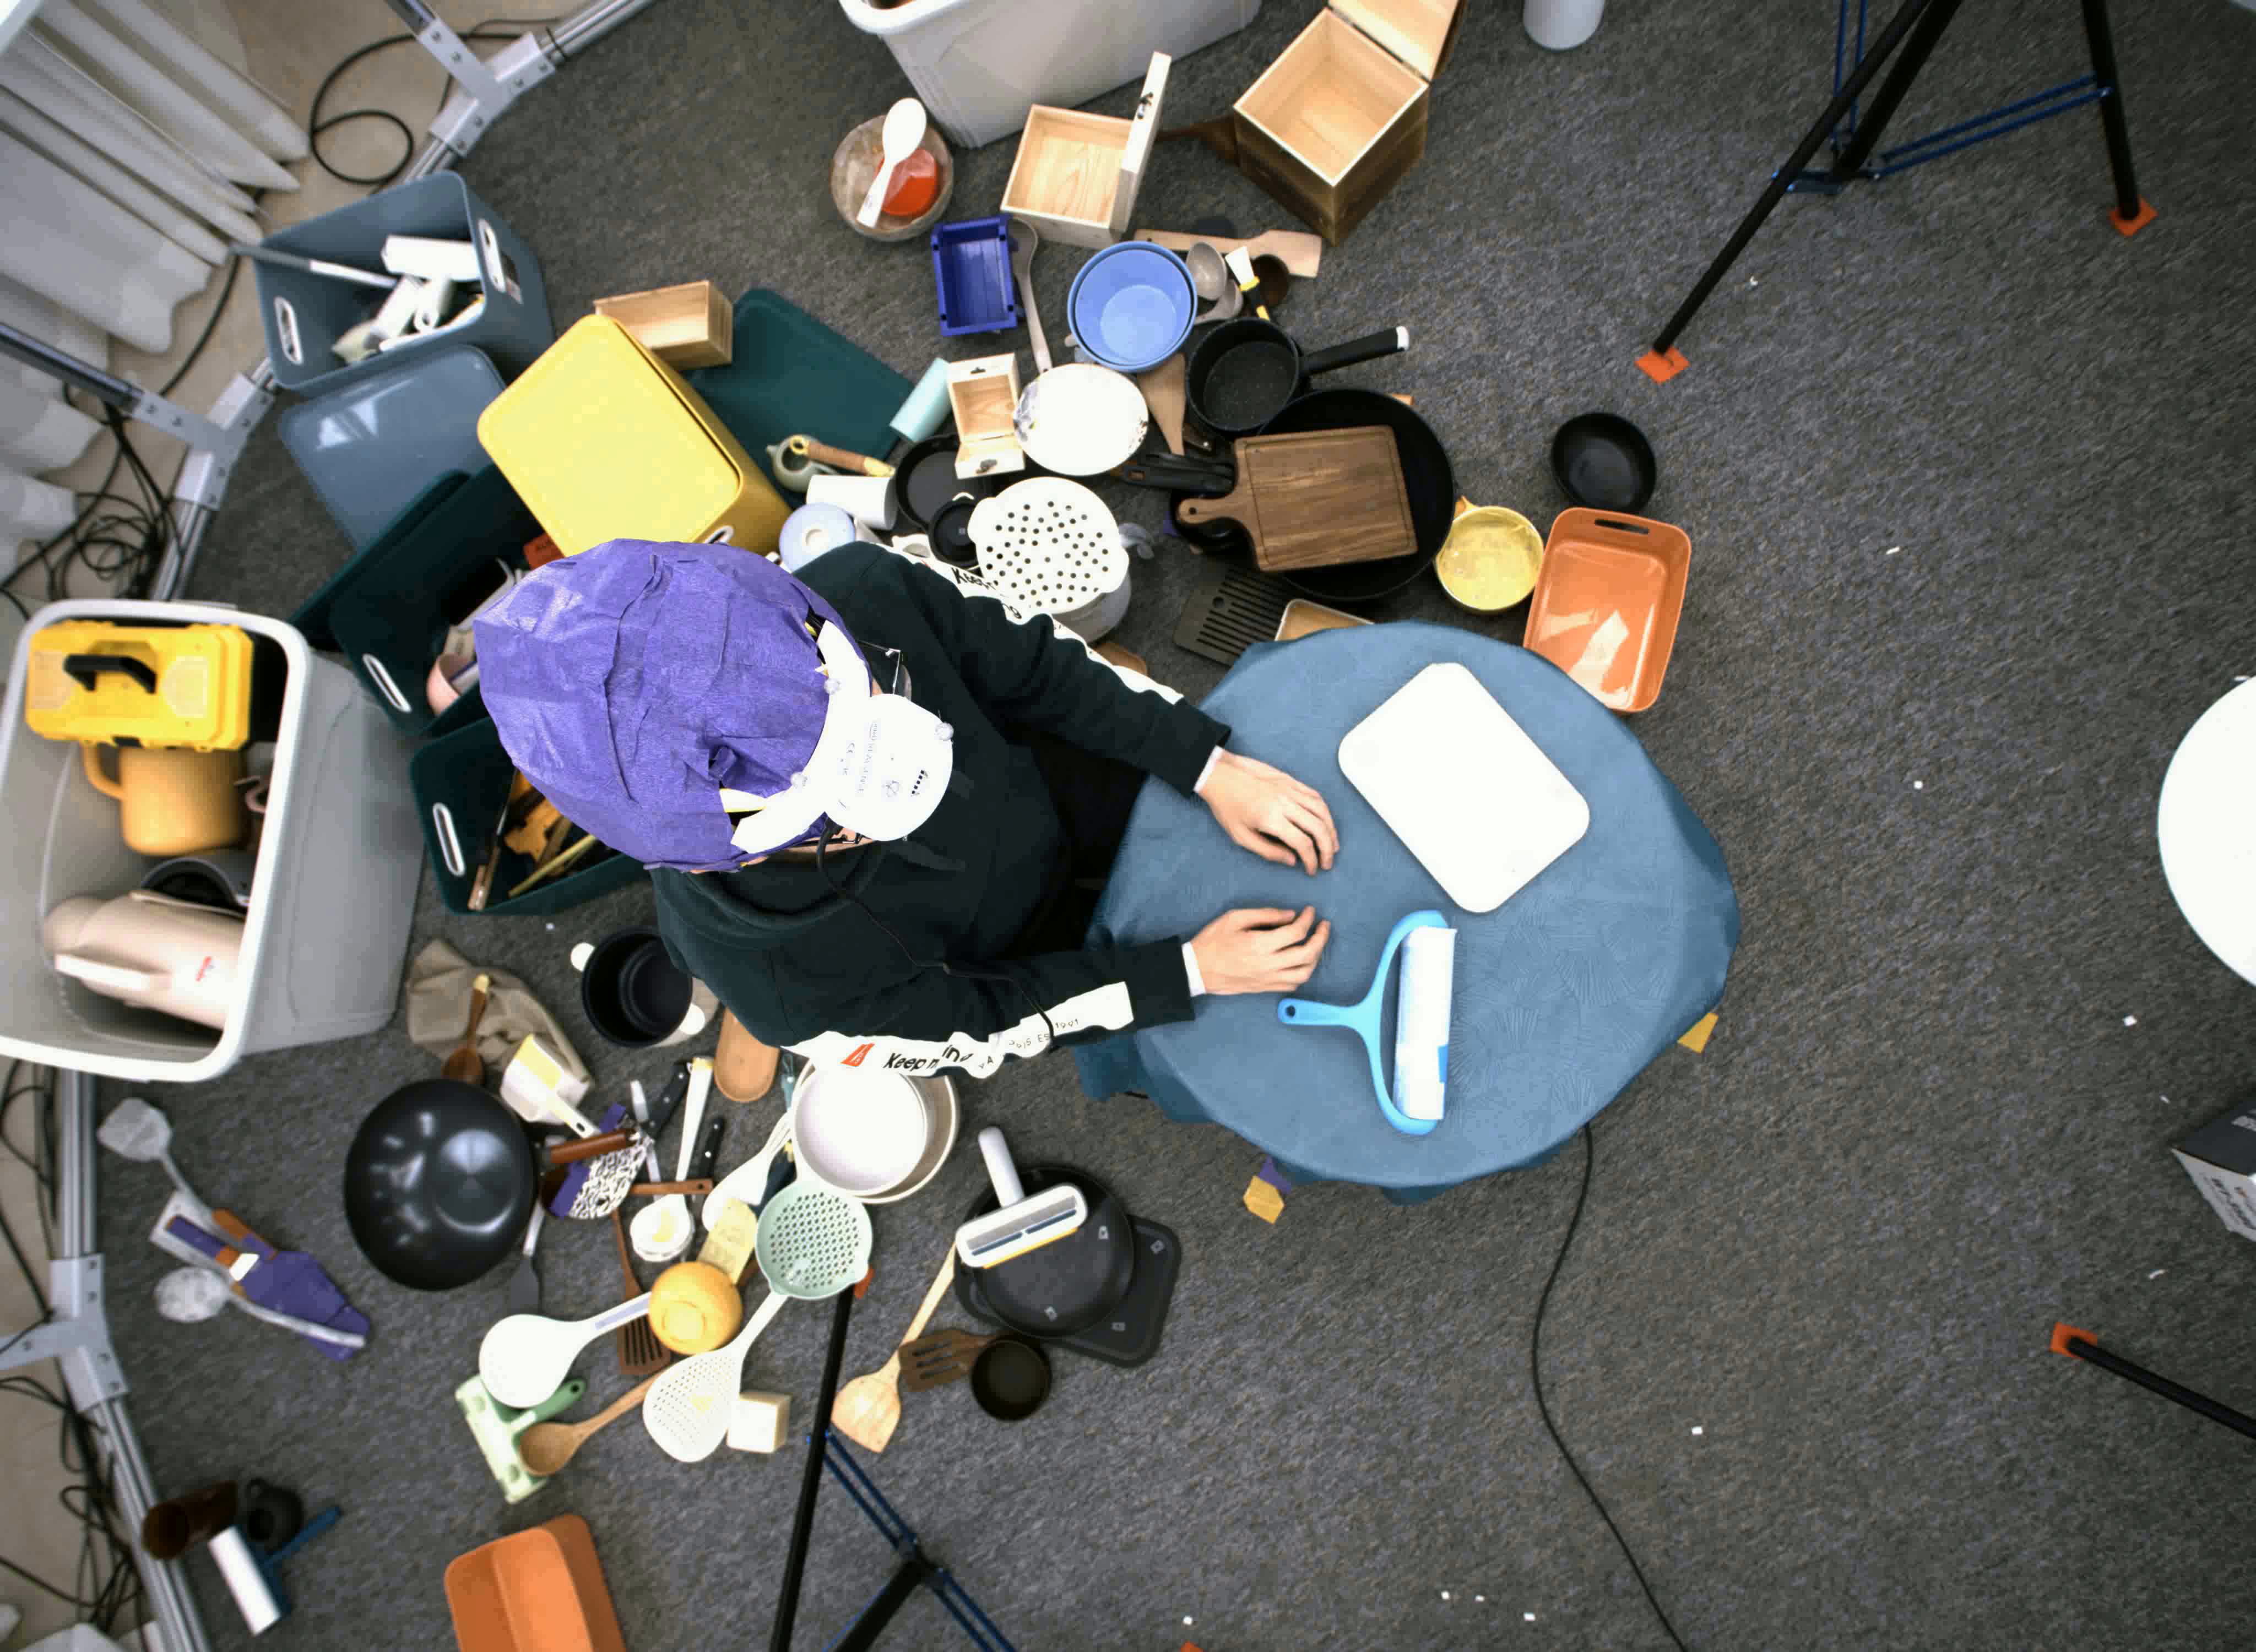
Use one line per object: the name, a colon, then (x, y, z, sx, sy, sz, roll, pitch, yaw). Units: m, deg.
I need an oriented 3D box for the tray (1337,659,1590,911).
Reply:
tray: (0.349, -0.045, 1.438, 0.172, 0.017, 0.238, -41, 81, 7)

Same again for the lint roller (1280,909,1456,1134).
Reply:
lint roller: (0.246, 0.198, 1.425, 0.181, 0.068, 0.228, 0, 88, 10)
